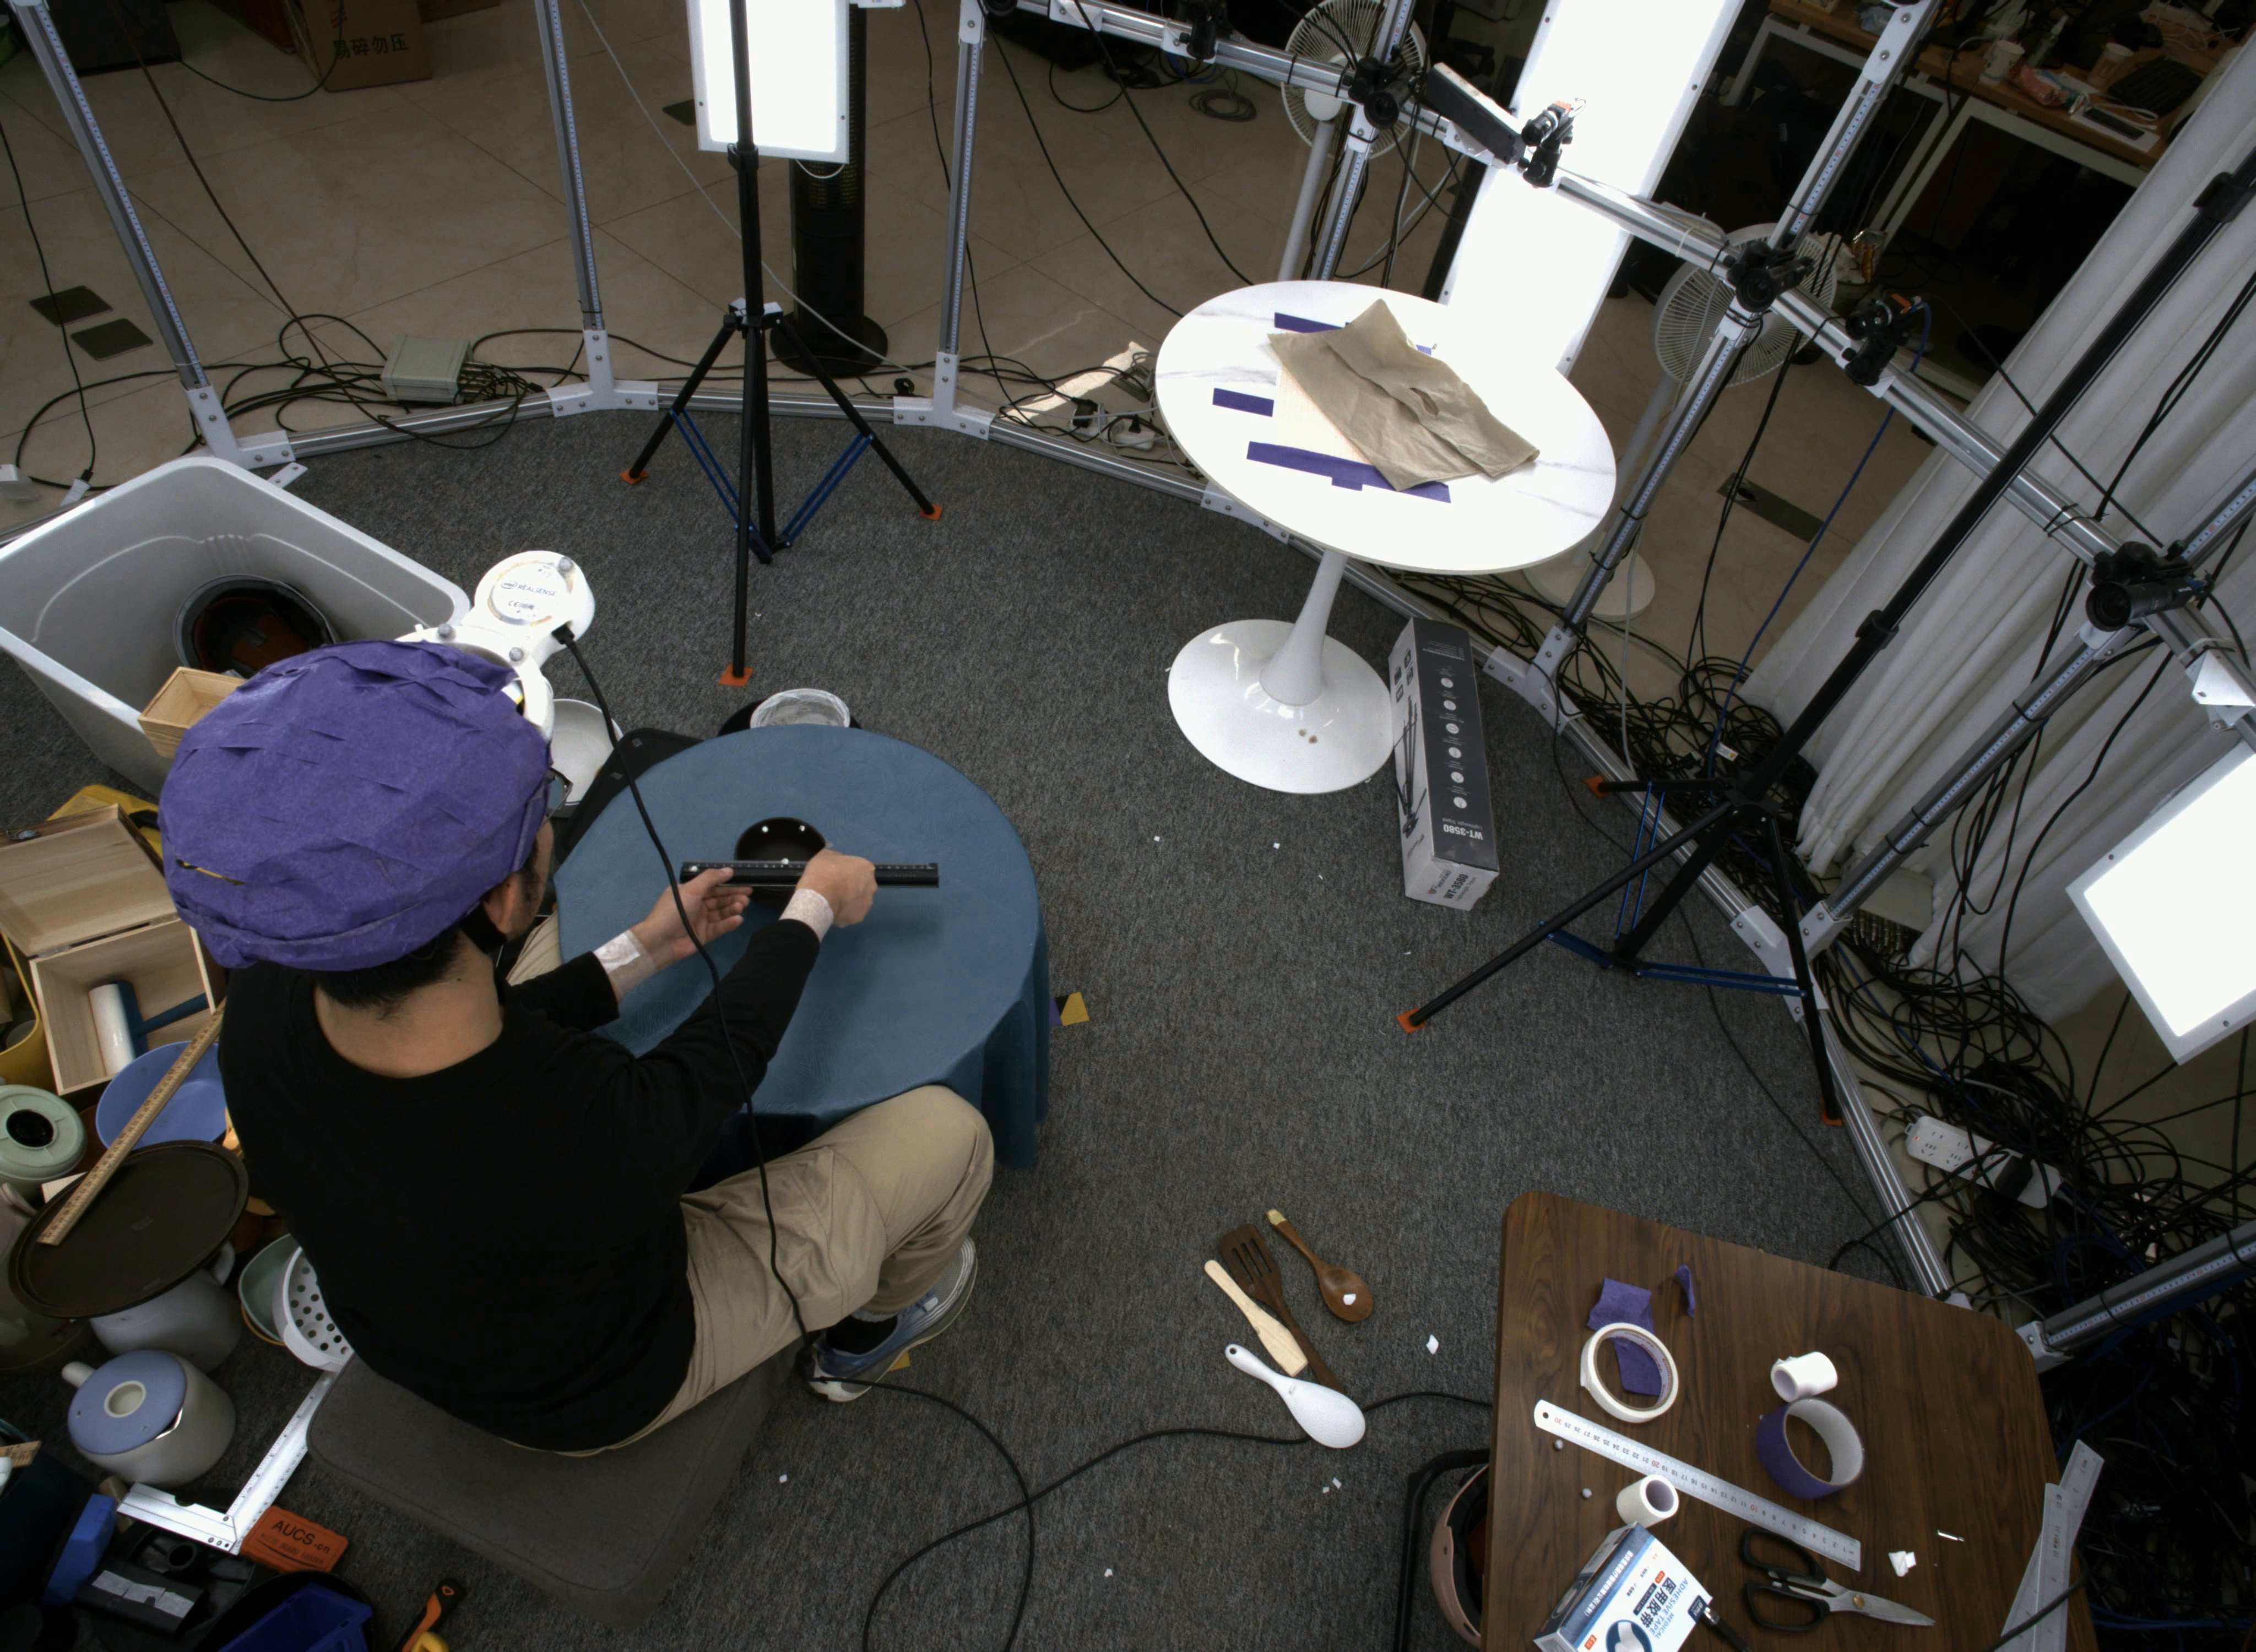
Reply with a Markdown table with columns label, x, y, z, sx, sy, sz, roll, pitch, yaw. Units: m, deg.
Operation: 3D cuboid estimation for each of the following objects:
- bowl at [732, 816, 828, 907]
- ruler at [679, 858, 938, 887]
| label | x | y | z | sx | sy | sz | roll | pitch | yaw |
| --- | --- | --- | --- | --- | --- | --- | --- | --- | --- |
| bowl | -0.436 | 0.051 | 1.626 | 0.118 | 0.071 | 0.116 | 8 | 47 | -7 |
| ruler | -0.389 | 0.052 | 1.591 | 0.313 | 0.017 | 0.038 | 1 | 51 | -15 |
